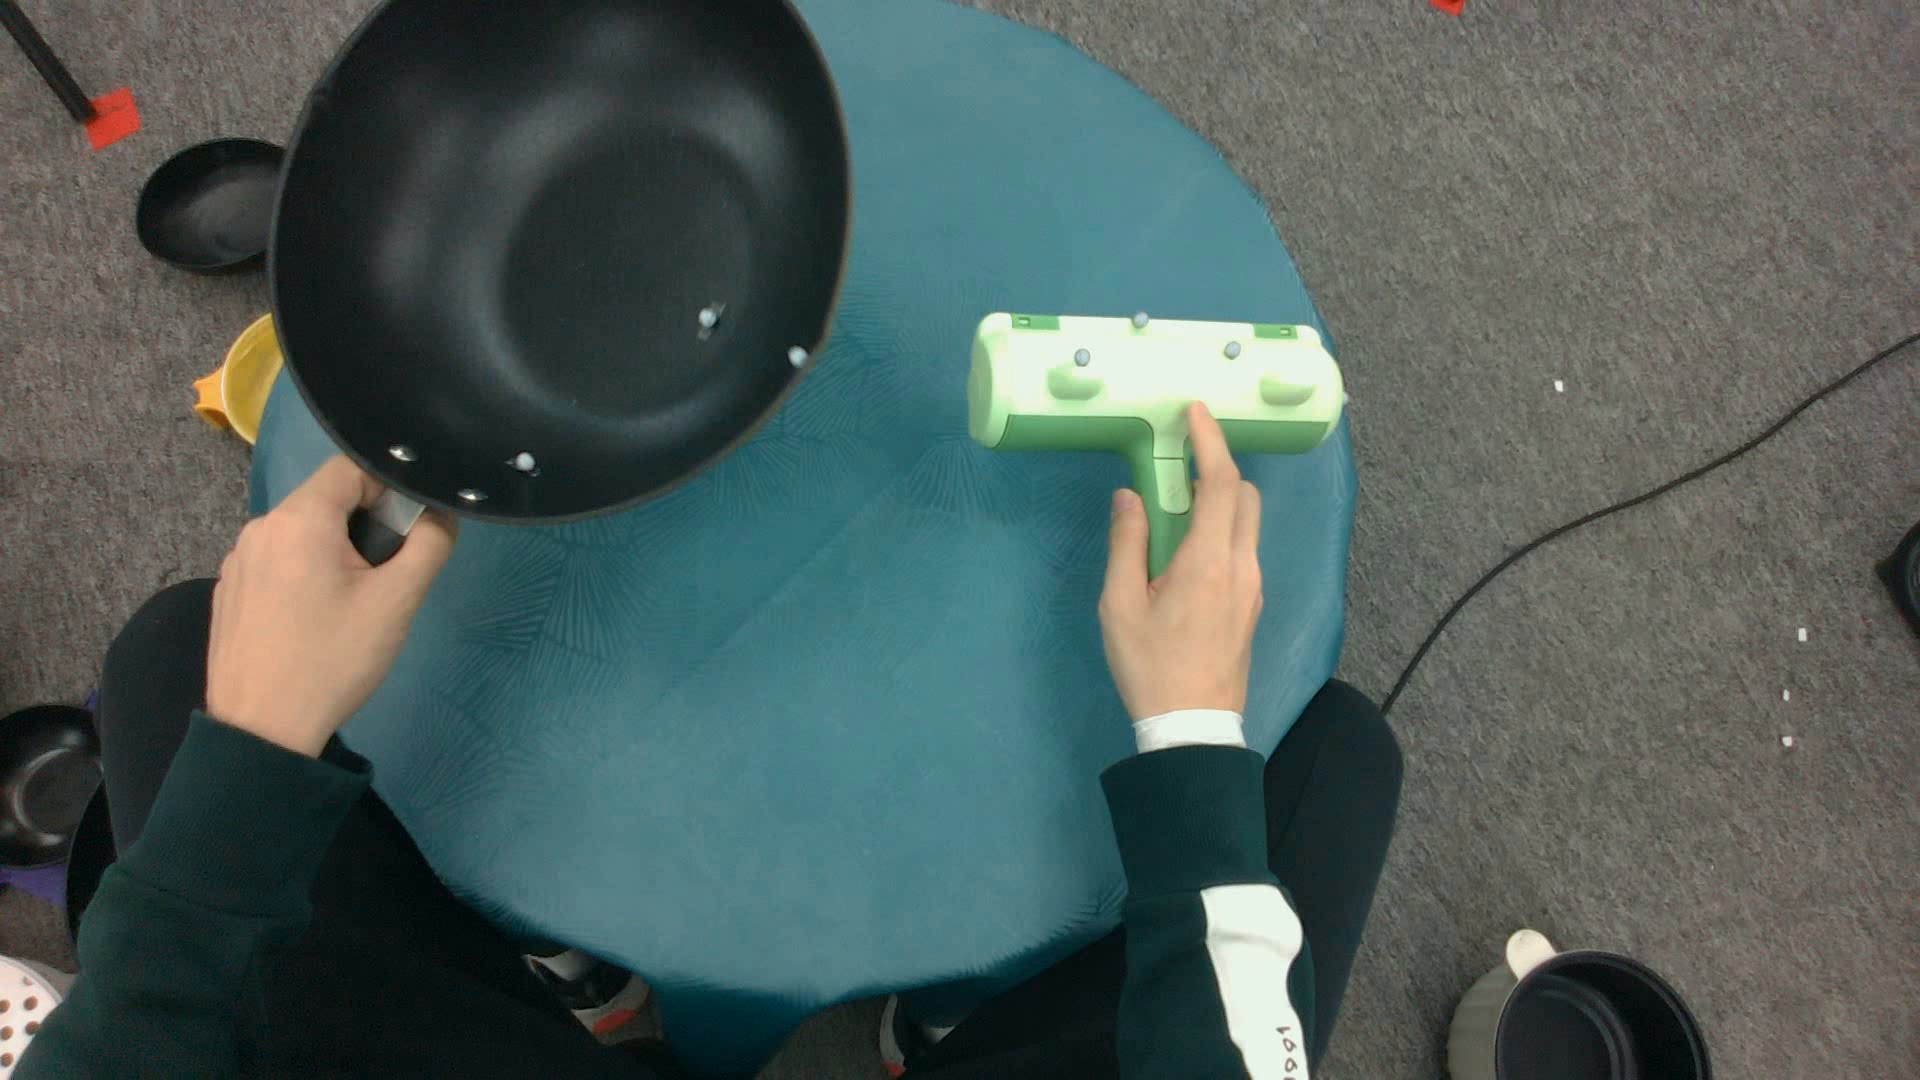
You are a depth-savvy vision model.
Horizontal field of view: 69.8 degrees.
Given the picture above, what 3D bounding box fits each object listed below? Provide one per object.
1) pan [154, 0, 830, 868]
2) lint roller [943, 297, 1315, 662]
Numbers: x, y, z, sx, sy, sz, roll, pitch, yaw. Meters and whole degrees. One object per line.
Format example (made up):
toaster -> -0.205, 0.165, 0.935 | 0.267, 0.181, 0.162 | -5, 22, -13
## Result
pan -> -0.225, -0.061, 0.637 | 0.288, 0.087, 0.463 | 26, 88, 14
lint roller -> 0.098, -0.035, 0.691 | 0.199, 0.082, 0.184 | -1, 73, -19
